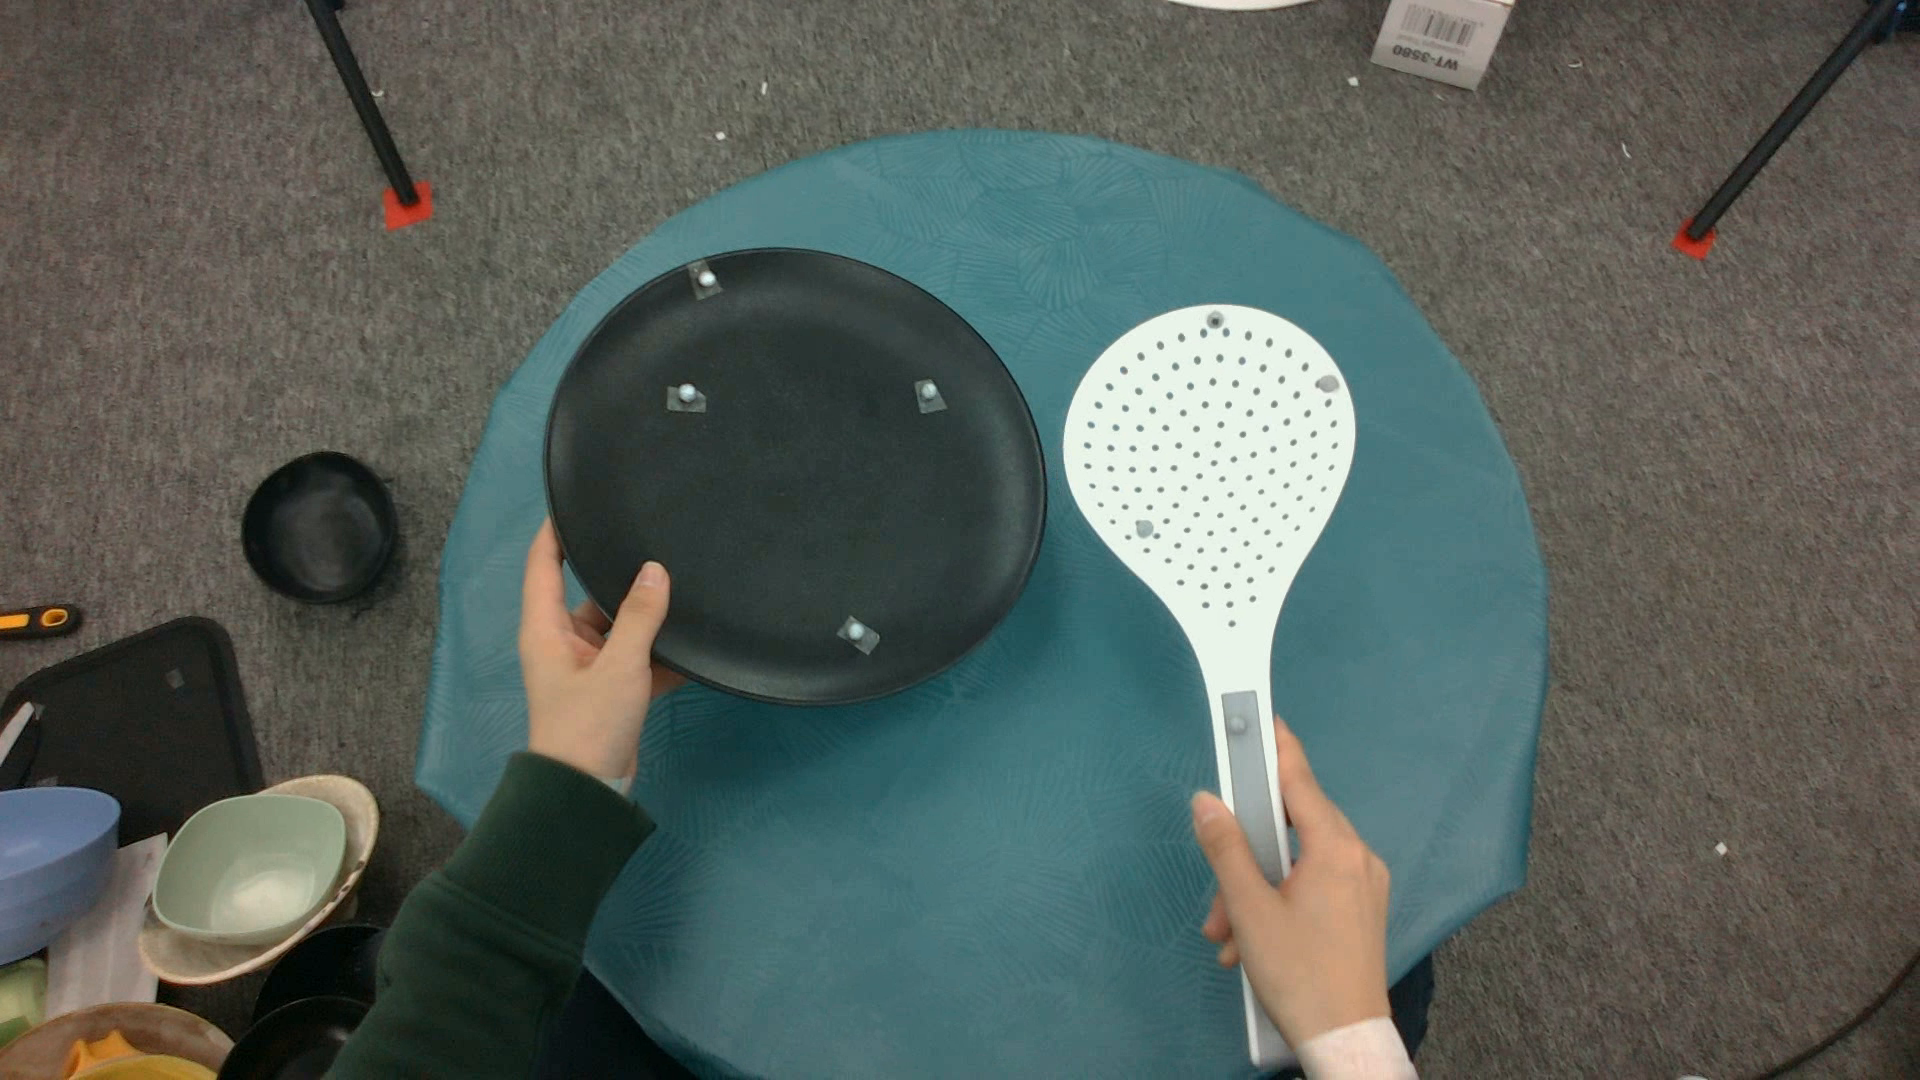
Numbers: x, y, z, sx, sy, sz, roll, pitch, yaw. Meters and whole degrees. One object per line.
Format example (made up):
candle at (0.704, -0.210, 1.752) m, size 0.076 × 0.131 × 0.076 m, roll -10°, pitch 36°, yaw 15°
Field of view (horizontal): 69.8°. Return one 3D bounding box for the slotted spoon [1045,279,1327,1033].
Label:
slotted spoon at (0.116, 0.041, 0.635) m, size 0.136 × 0.045 × 0.351 m, roll -9°, pitch 66°, yaw 15°

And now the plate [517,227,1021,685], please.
plate at (-0.089, -0.045, 0.674) m, size 0.244 × 0.023 × 0.245 m, roll 6°, pitch 66°, yaw -15°
